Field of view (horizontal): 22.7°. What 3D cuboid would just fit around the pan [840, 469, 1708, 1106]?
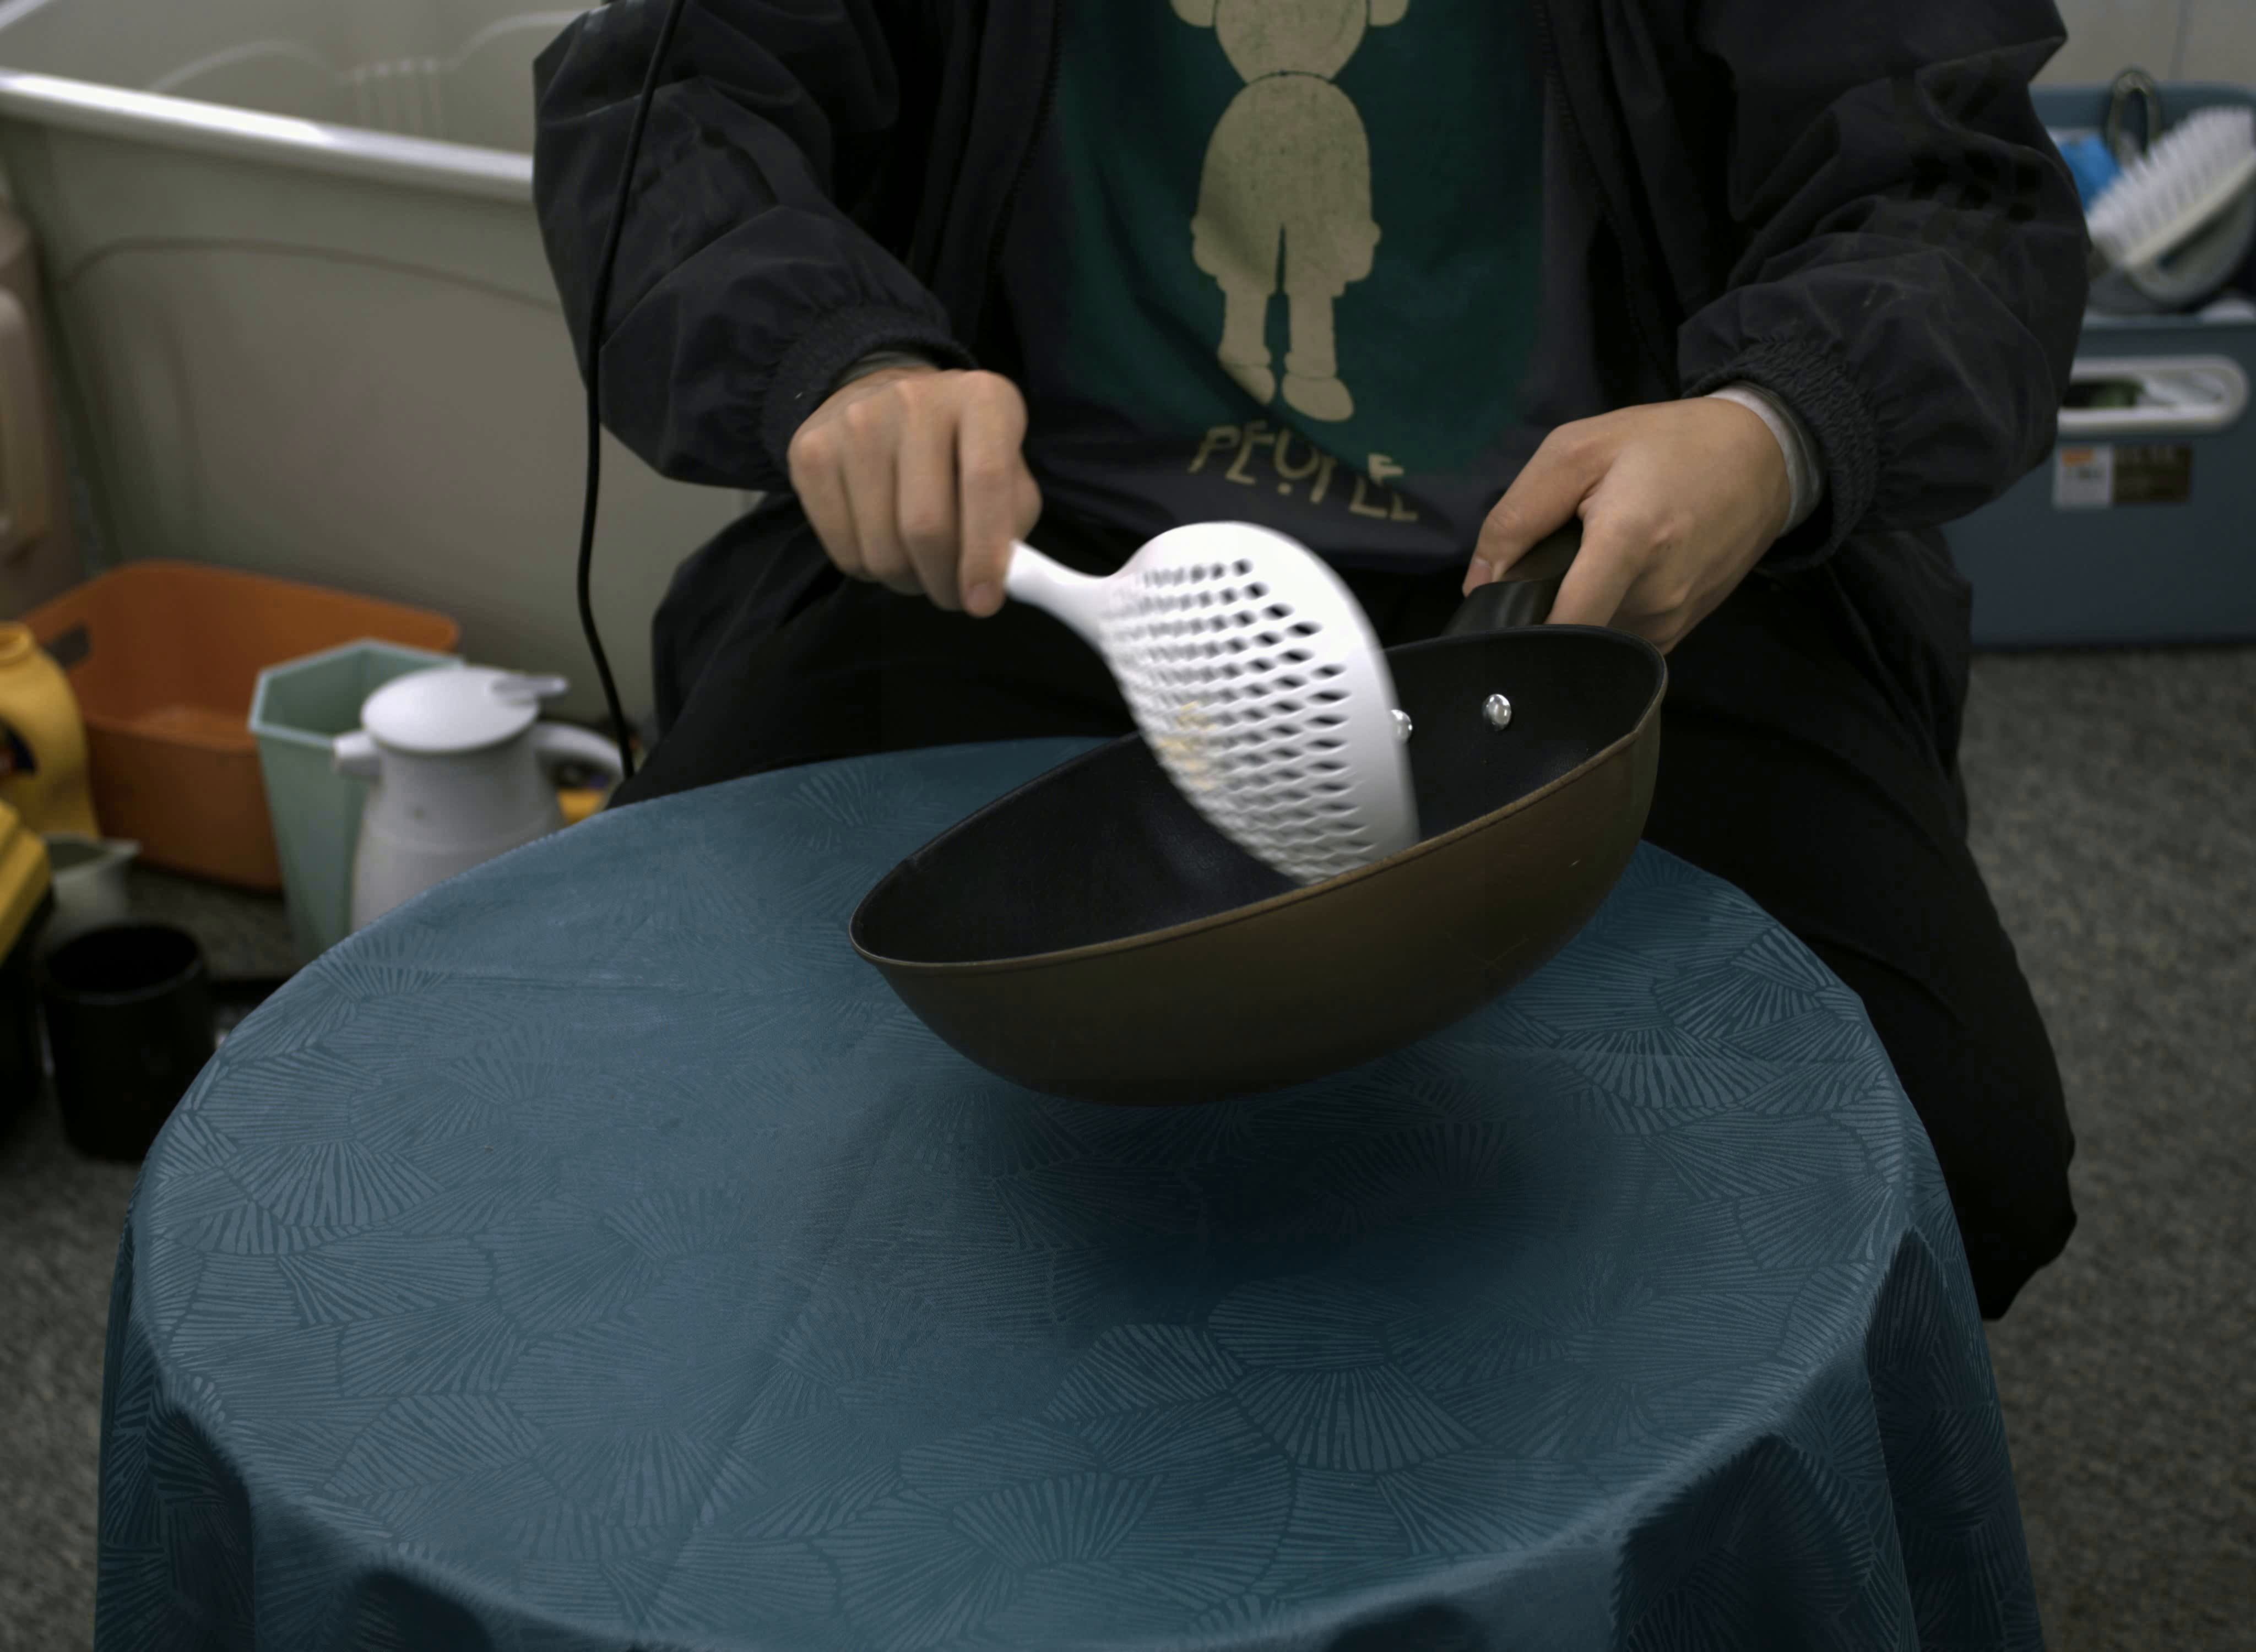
[{"bbox_3d":[0.095,-0.011,1.911,0.284,0.086,0.470,-10,16,34],"label":"pan"}]

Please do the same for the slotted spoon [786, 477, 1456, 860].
[{"bbox_3d":[-0.009,-0.070,1.937,0.051,0.135,0.348,-25,31,-25],"label":"slotted spoon"}]
